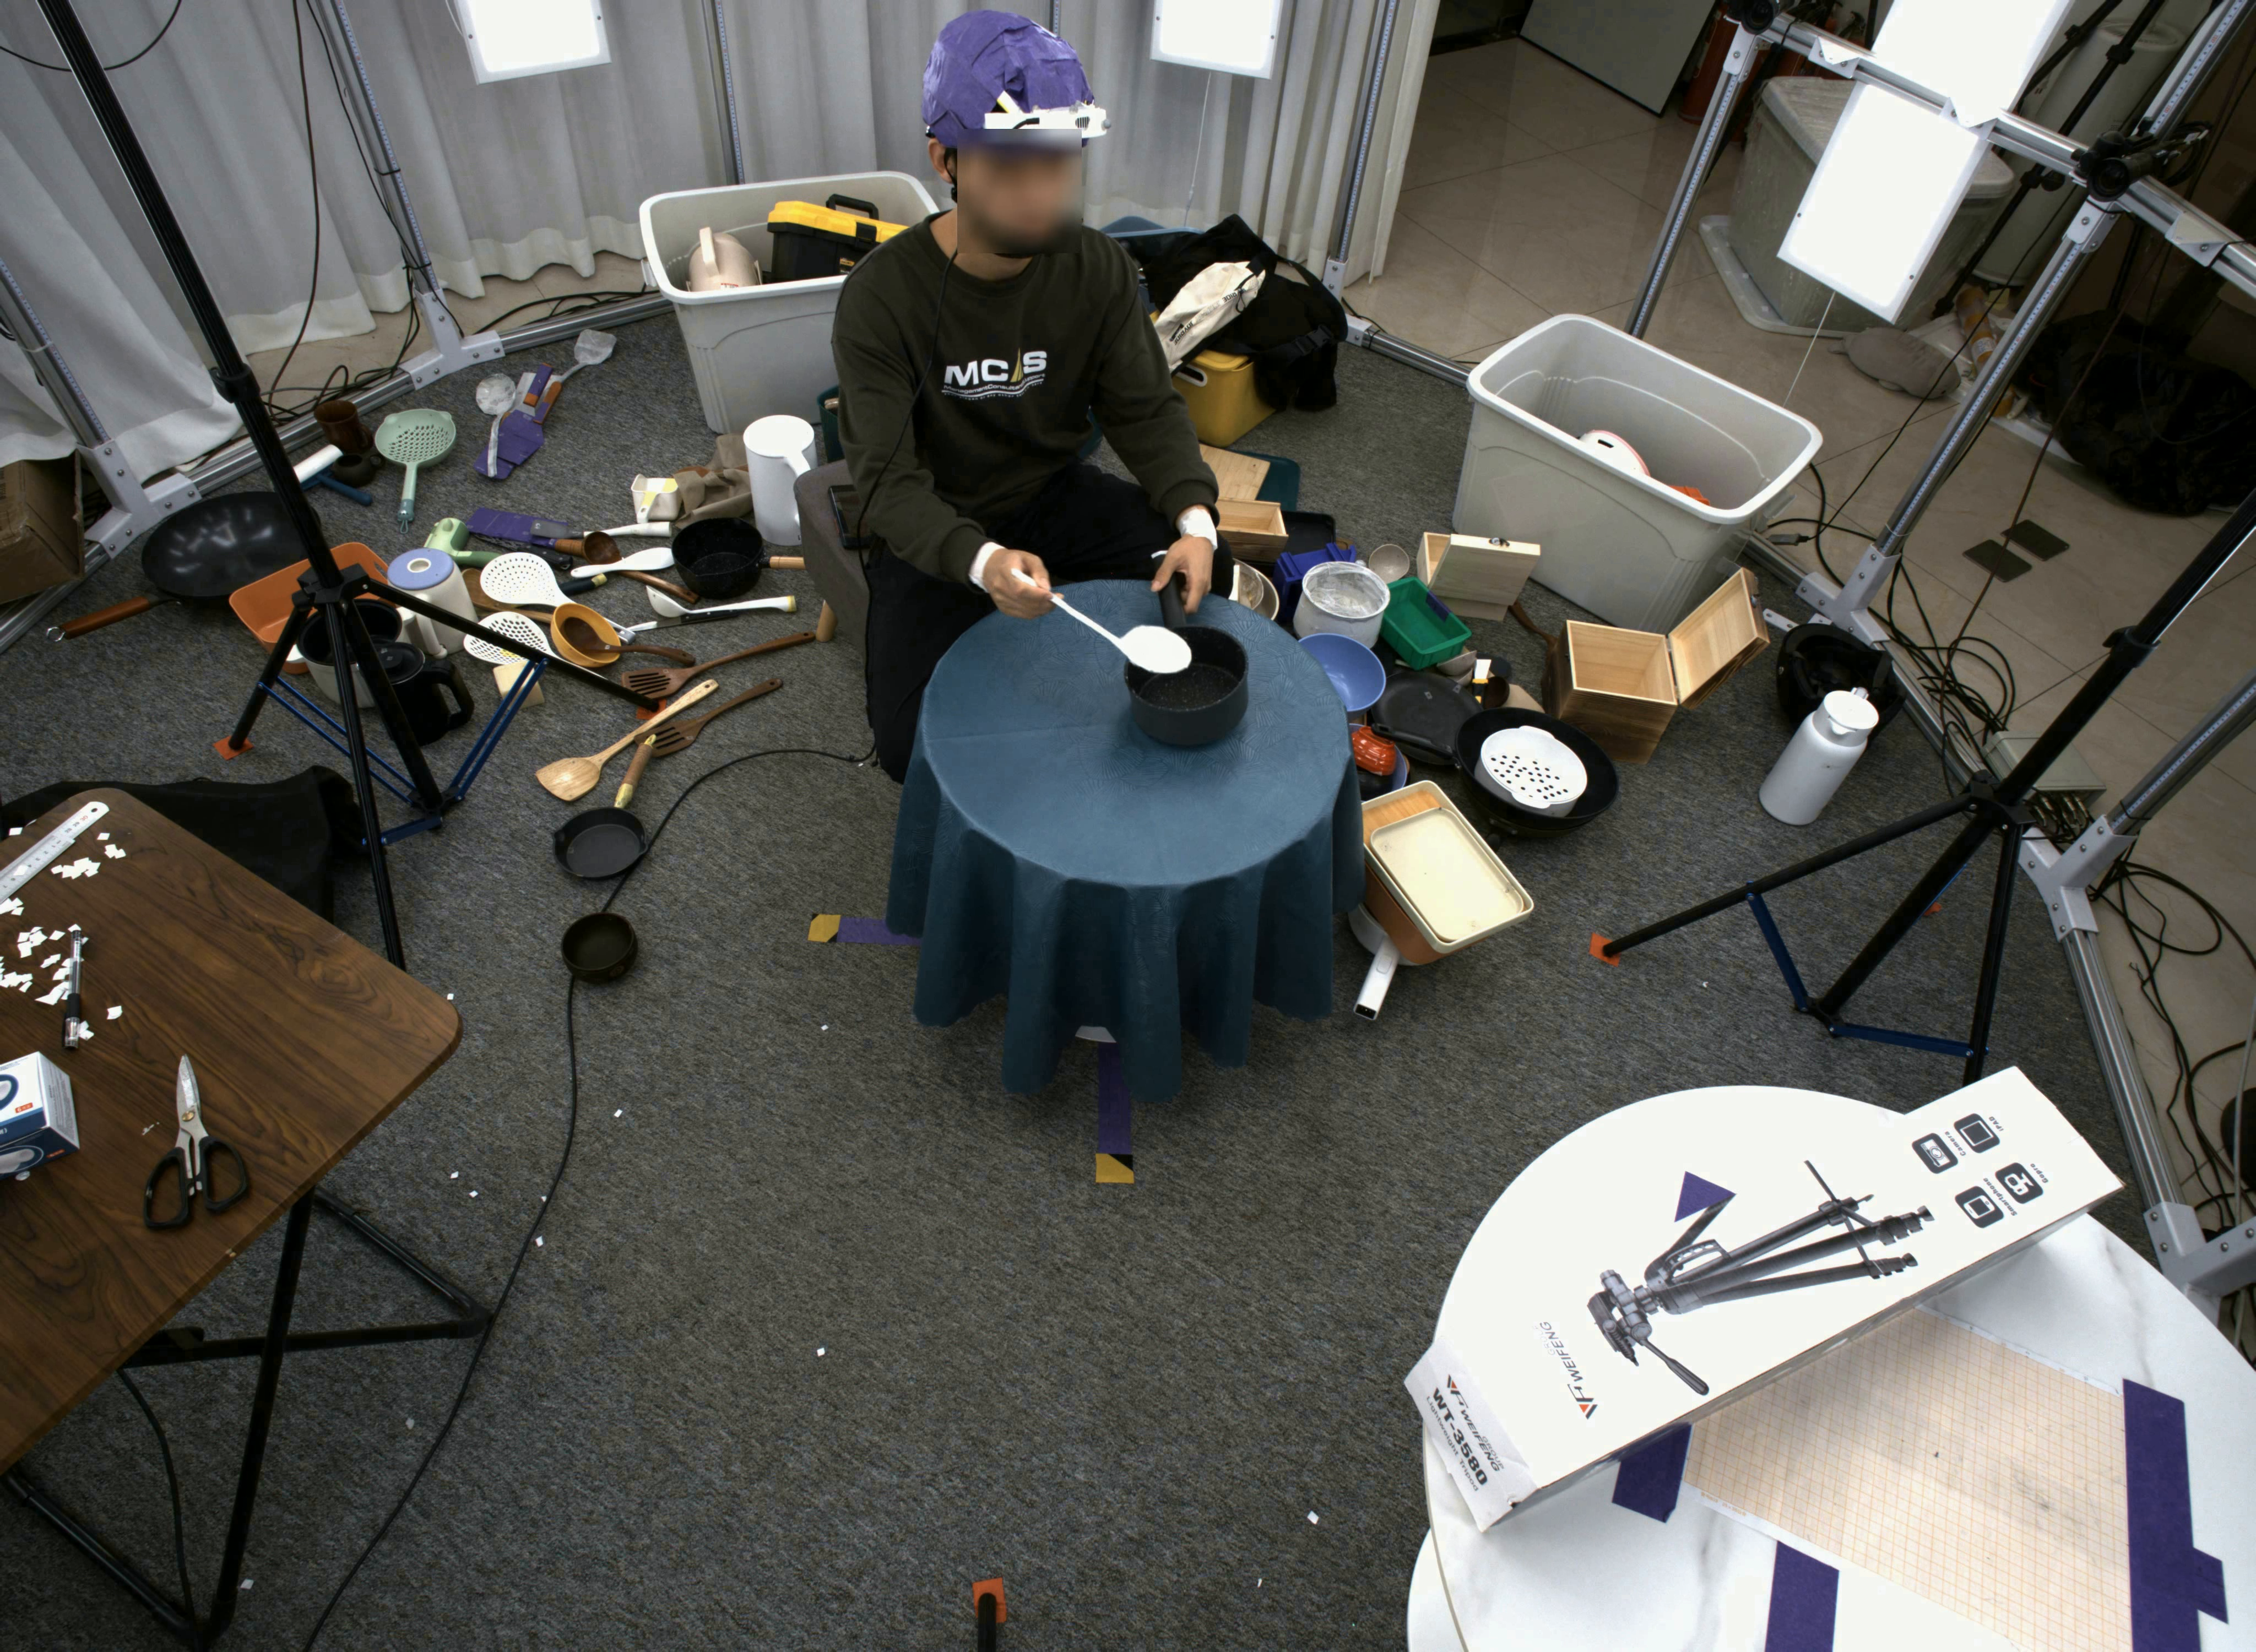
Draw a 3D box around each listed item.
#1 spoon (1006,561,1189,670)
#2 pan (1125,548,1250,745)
[{"bbox_3d":[-0.035,-0.284,1.665,0.273,0.059,0.103,31,34,-33],"label":"spoon"},{"bbox_3d":[0.078,-0.258,1.828,0.172,0.084,0.337,-7,50,3],"label":"pan"}]
